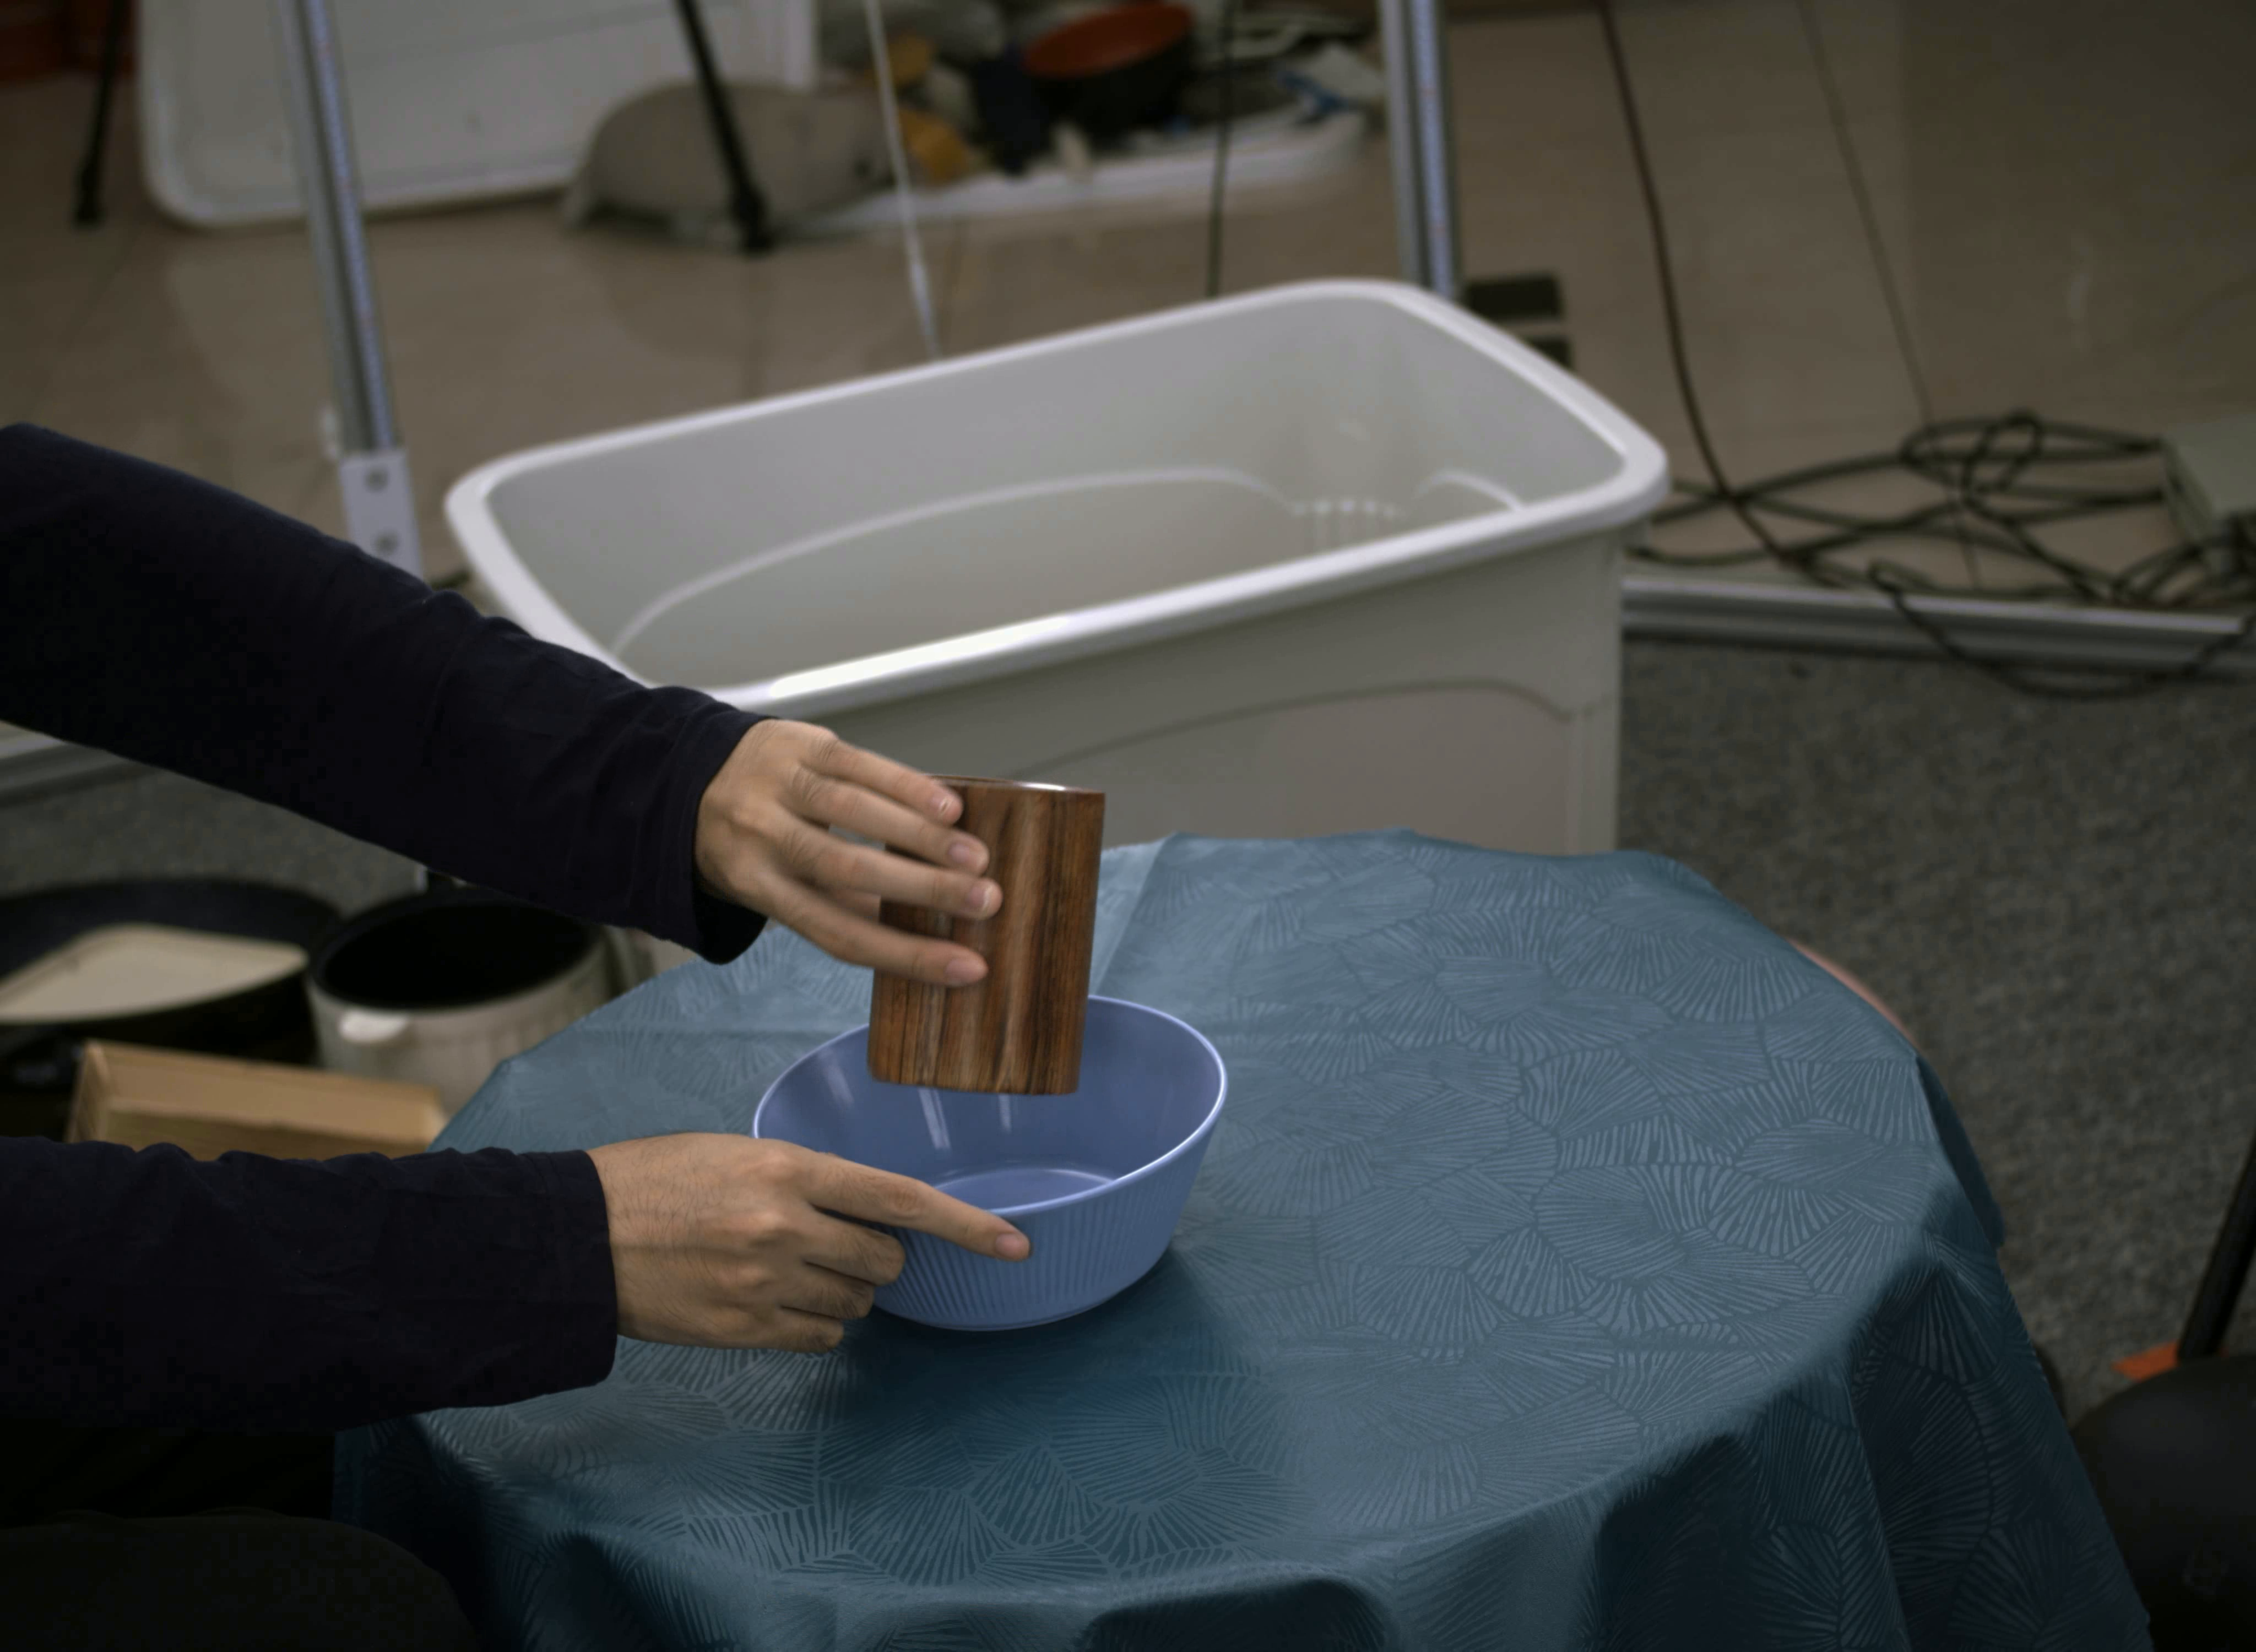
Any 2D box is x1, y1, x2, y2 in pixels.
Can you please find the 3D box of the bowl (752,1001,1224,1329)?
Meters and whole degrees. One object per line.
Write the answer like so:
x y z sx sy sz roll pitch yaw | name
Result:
-0.048 0.130 2.094 0.176 0.071 0.173 -6 25 3 | bowl

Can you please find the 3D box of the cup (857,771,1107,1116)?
-0.051 0.043 2.073 0.087 0.119 0.087 5 6 -1 | cup
